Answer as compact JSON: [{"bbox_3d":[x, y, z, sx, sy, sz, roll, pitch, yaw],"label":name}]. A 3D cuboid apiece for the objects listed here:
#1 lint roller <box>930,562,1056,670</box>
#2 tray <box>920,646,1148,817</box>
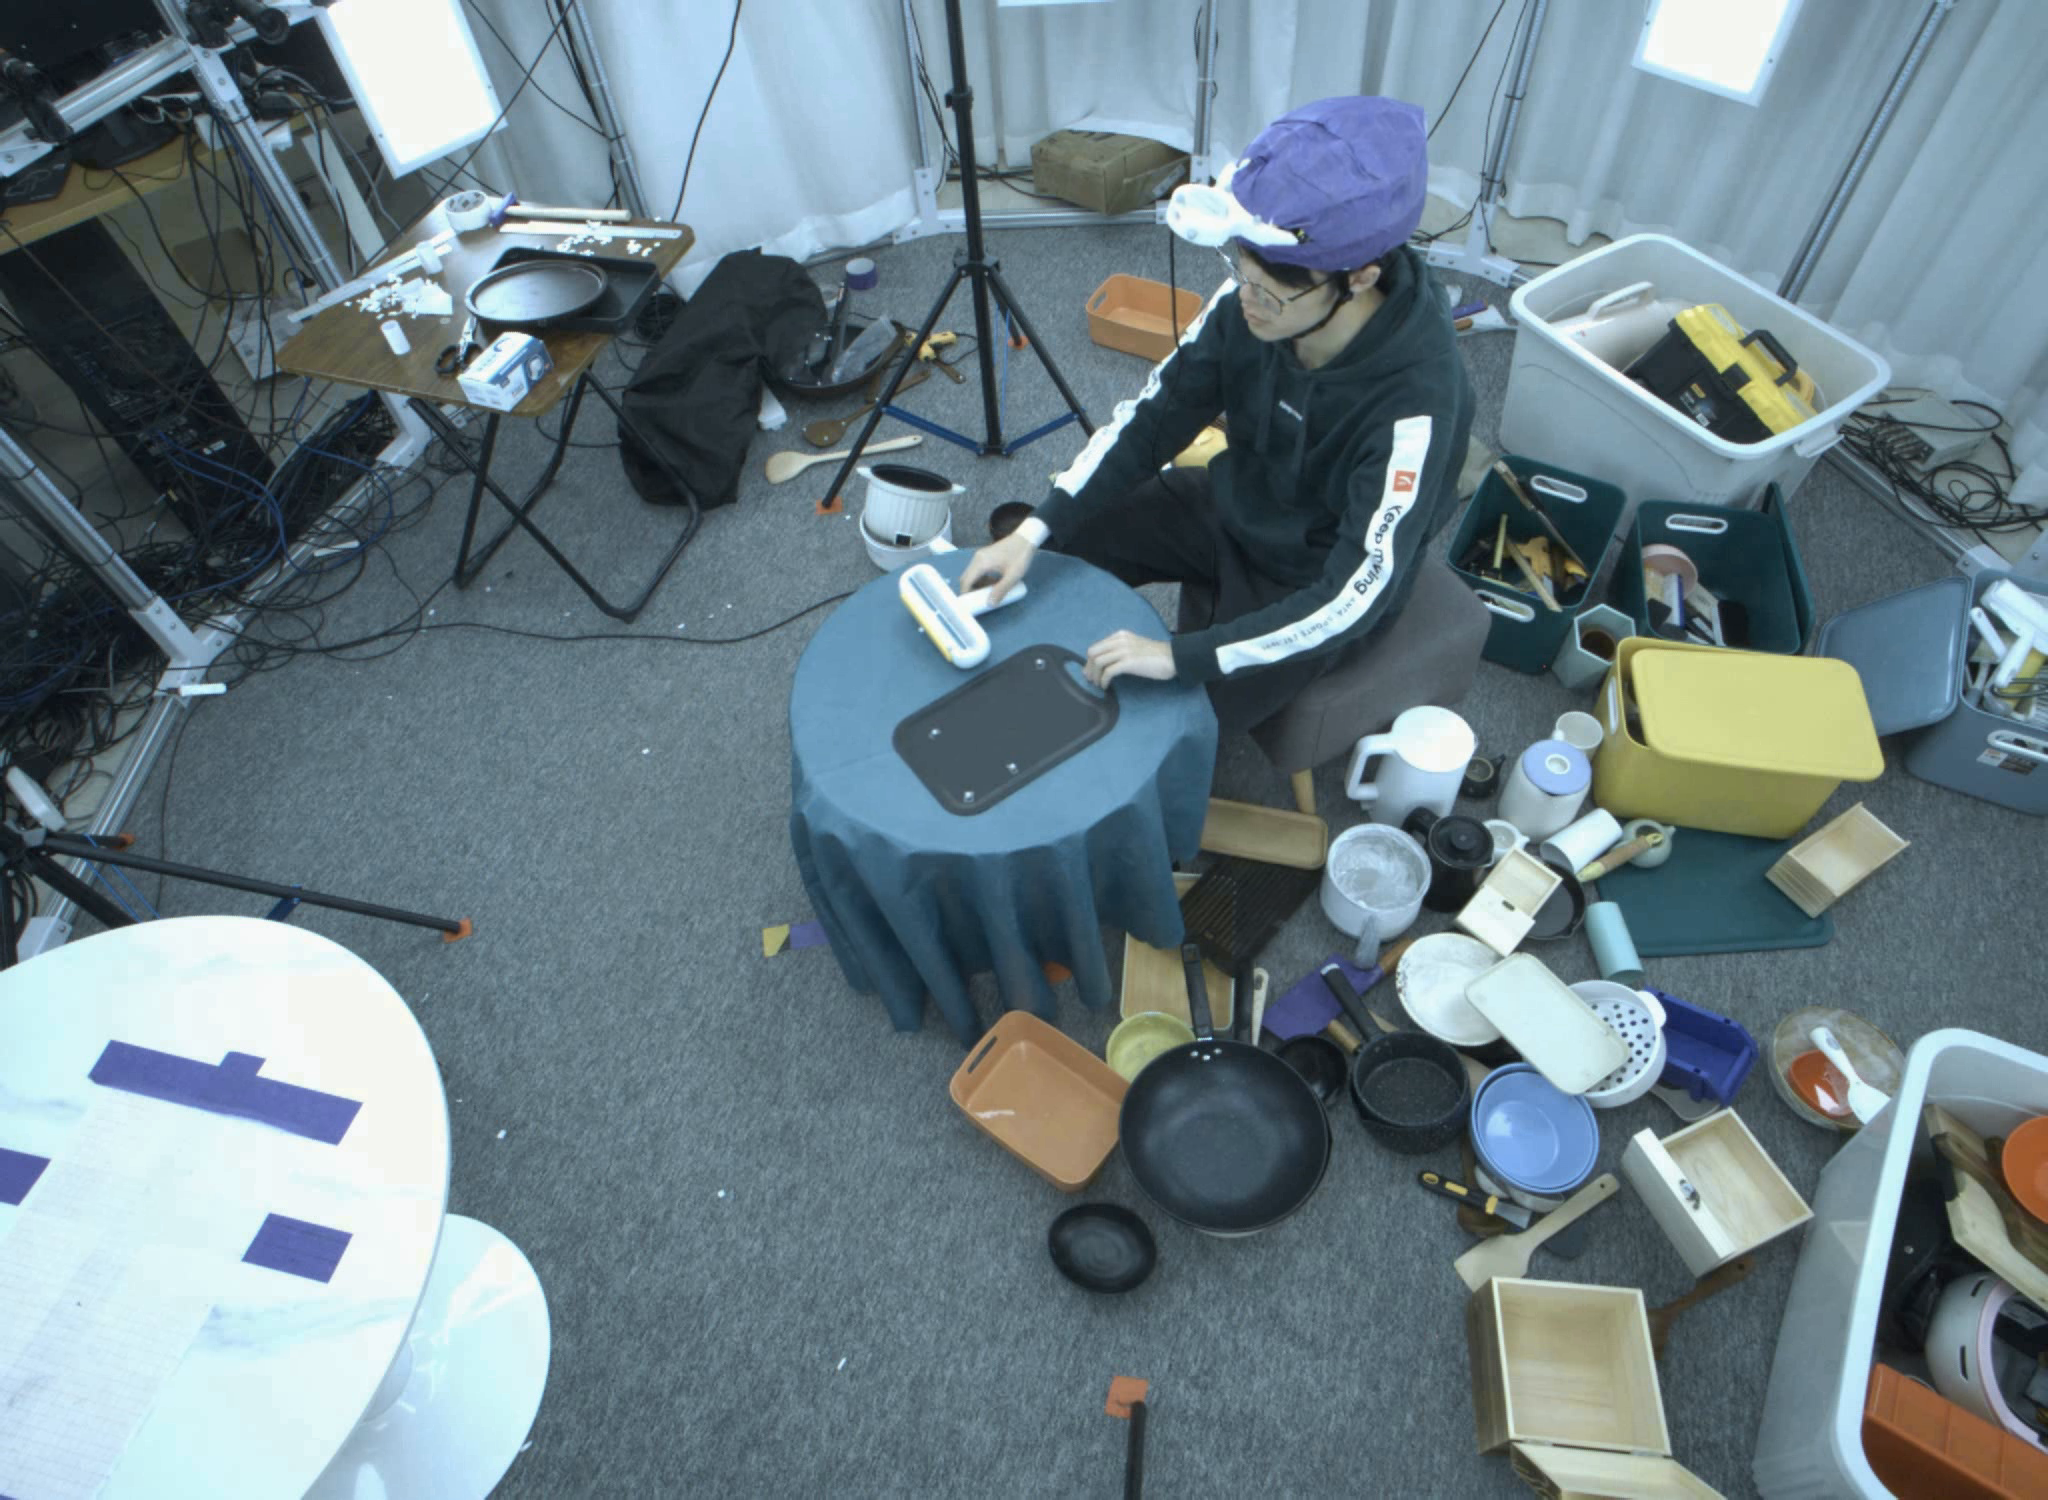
[{"bbox_3d":[-0.032,-0.216,1.919,0.195,0.074,0.190,-17,61,-27],"label":"lint roller"},{"bbox_3d":[0.021,-0.038,1.805,0.328,0.010,0.207,-30,59,-18],"label":"tray"}]
